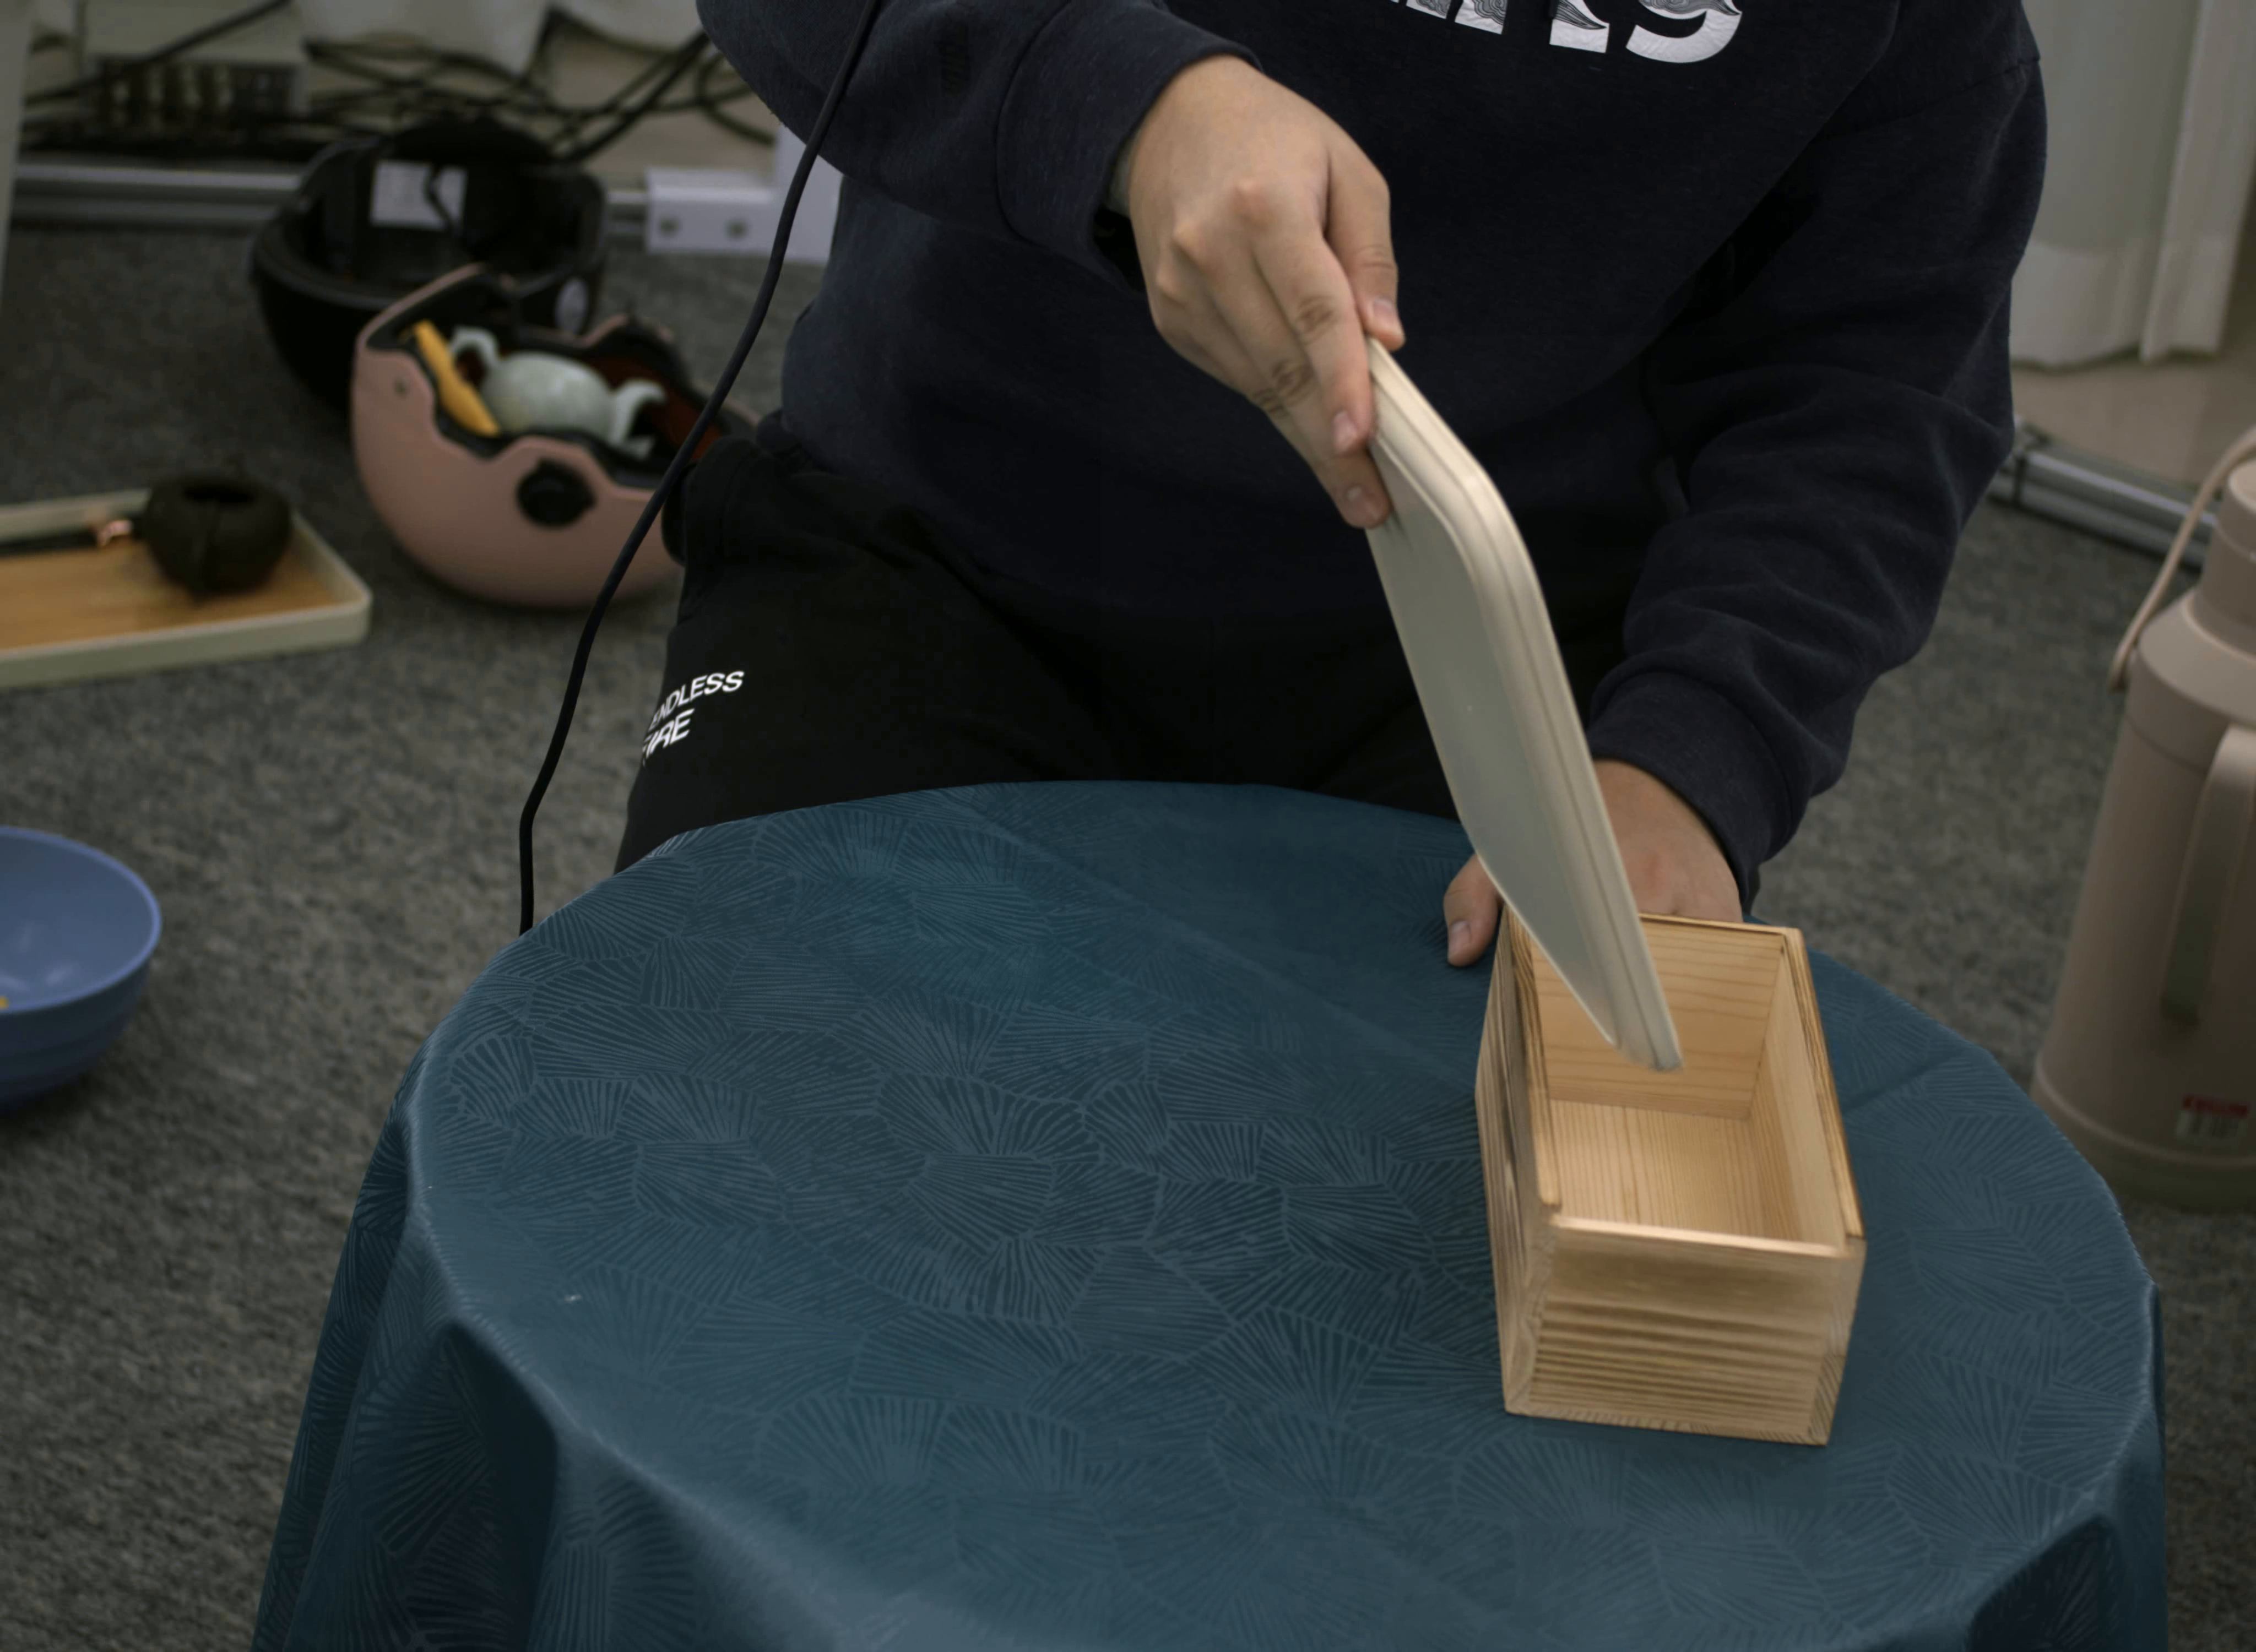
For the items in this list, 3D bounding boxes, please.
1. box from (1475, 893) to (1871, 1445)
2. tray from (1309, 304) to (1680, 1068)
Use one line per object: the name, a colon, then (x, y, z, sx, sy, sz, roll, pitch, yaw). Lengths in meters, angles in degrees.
box: (0.179, 0.111, 1.784, 0.107, 0.080, 0.212, 6, 27, -3)
tray: (0.116, -0.042, 1.716, 0.017, 0.238, 0.173, -24, 34, -6)
